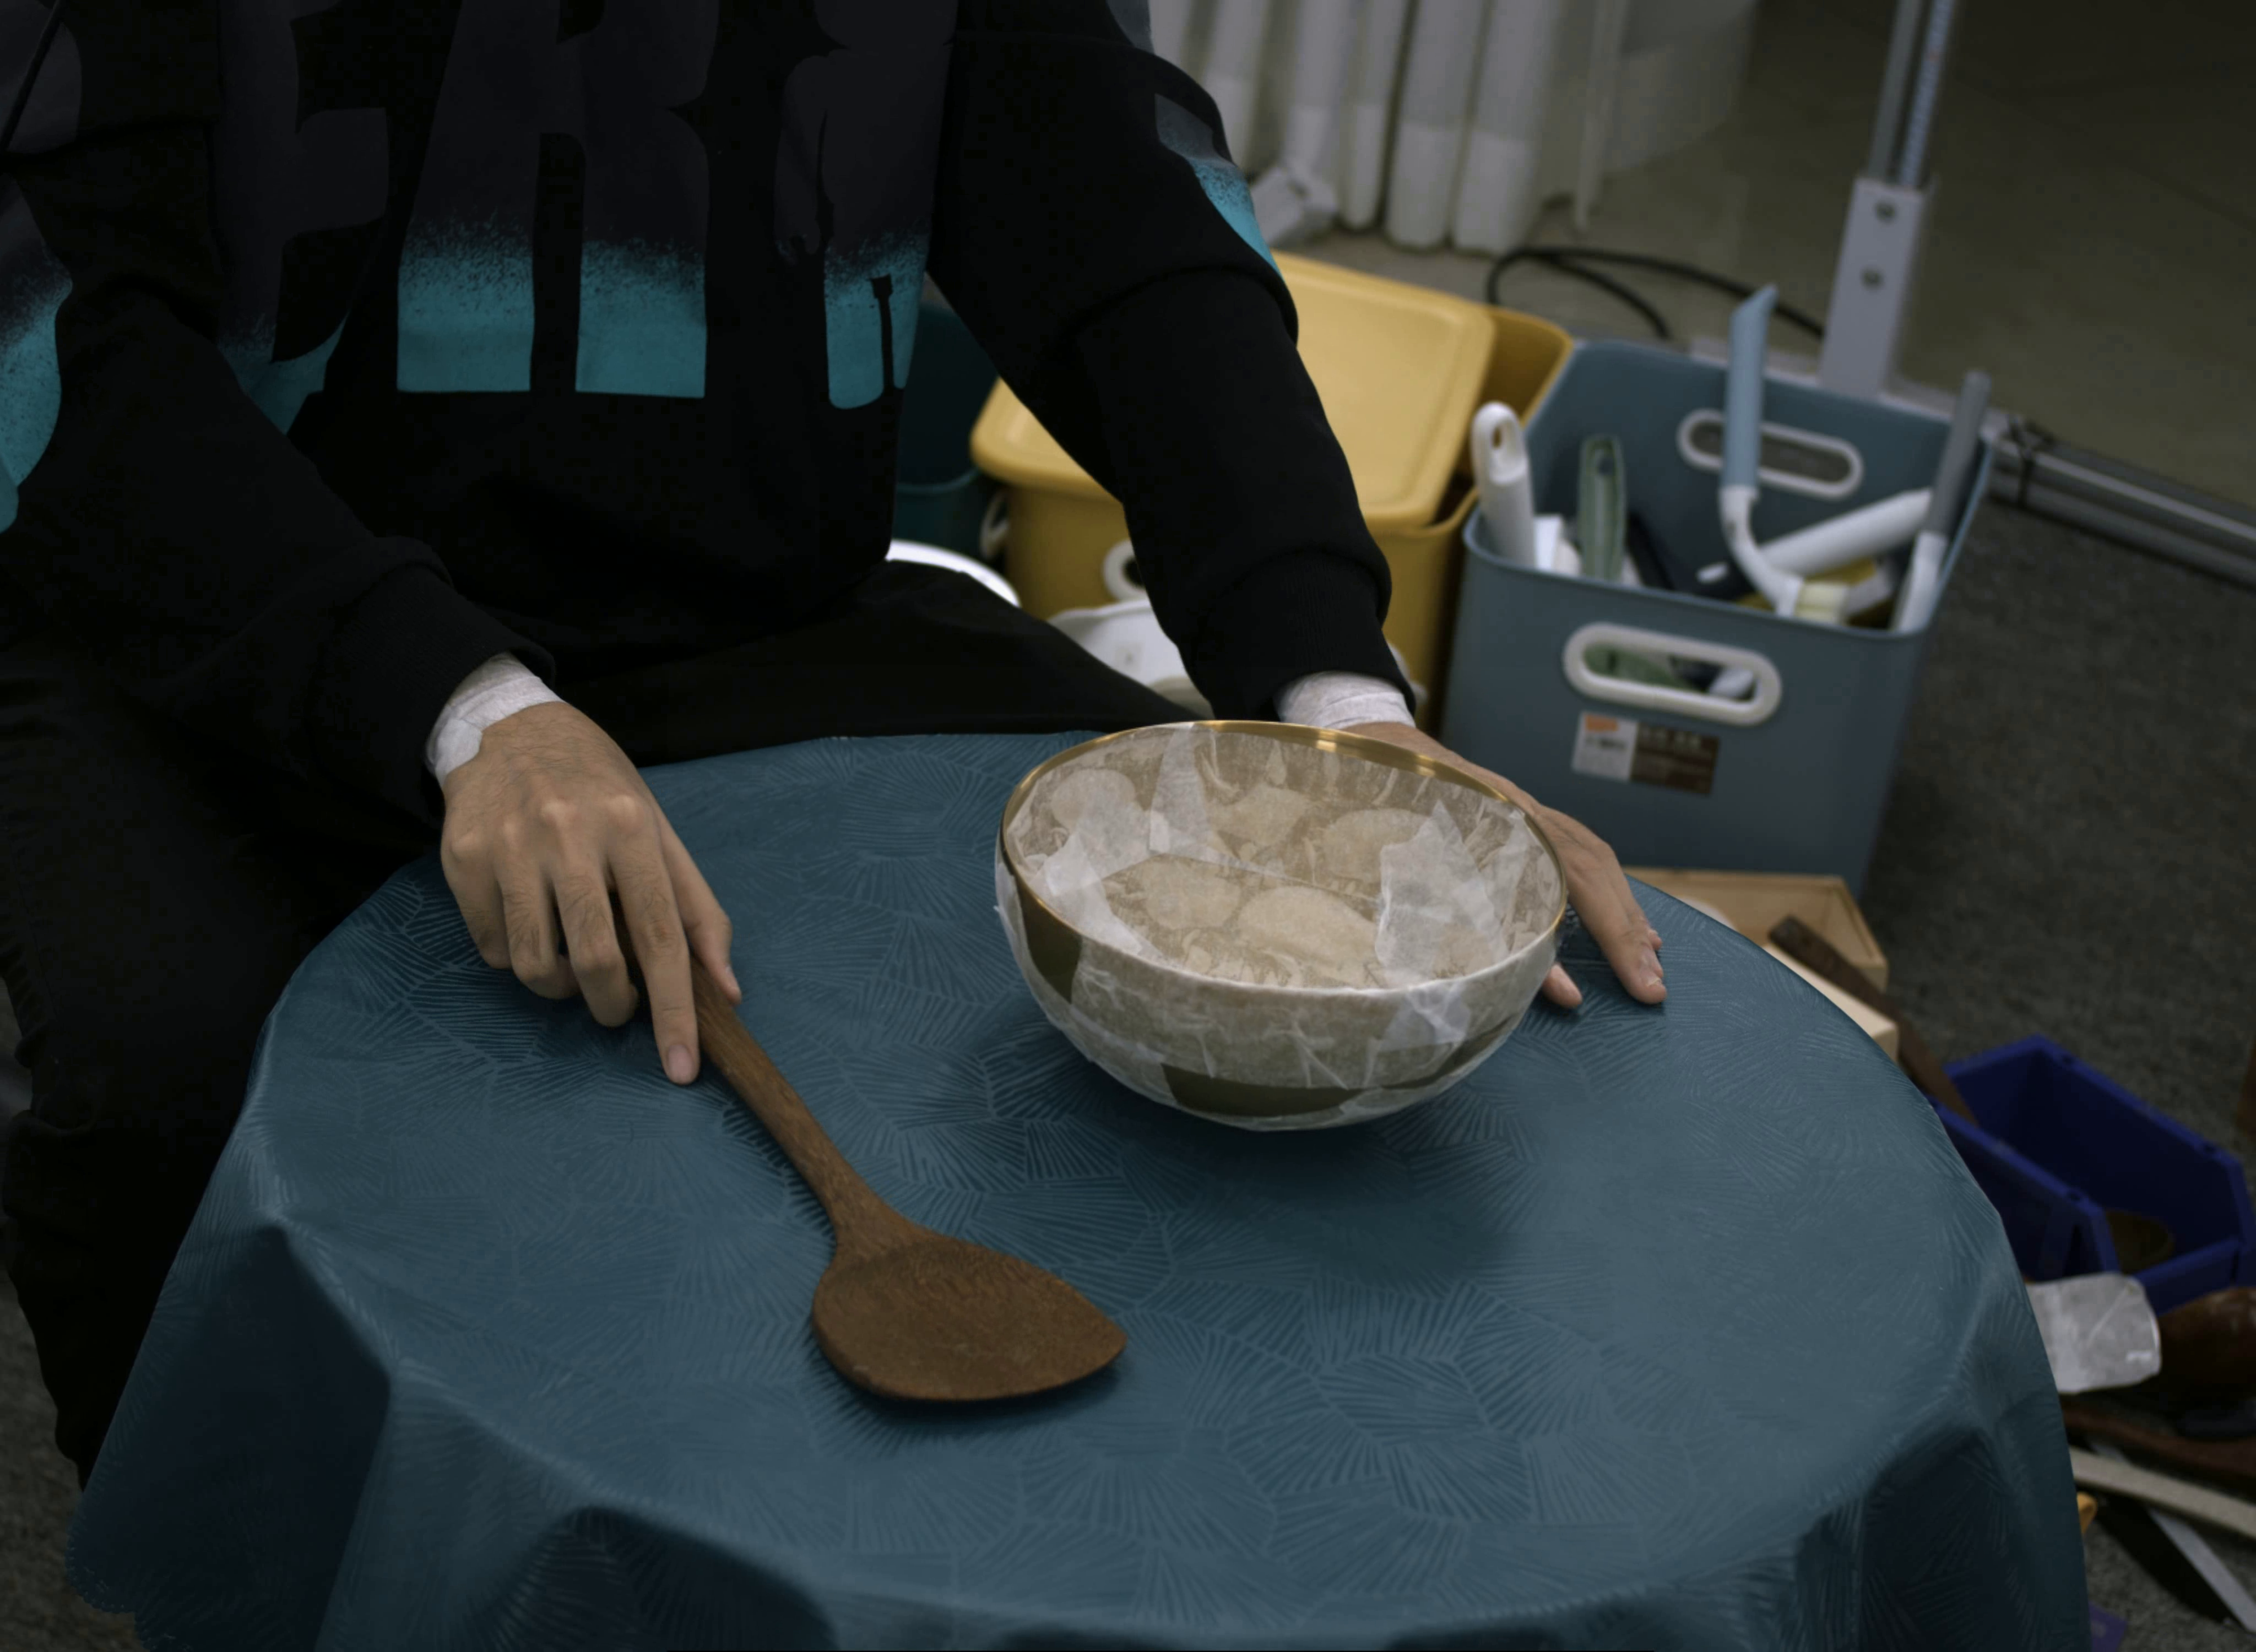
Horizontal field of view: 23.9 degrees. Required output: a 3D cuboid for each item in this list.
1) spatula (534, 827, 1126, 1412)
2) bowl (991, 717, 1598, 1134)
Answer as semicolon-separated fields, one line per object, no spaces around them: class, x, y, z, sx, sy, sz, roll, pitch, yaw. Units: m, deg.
spatula;-0.123;0.091;1.813;0.095;0.016;0.389;-8;32;-27
bowl;0.053;0.047;1.863;0.214;0.094;0.216;3;25;-2
